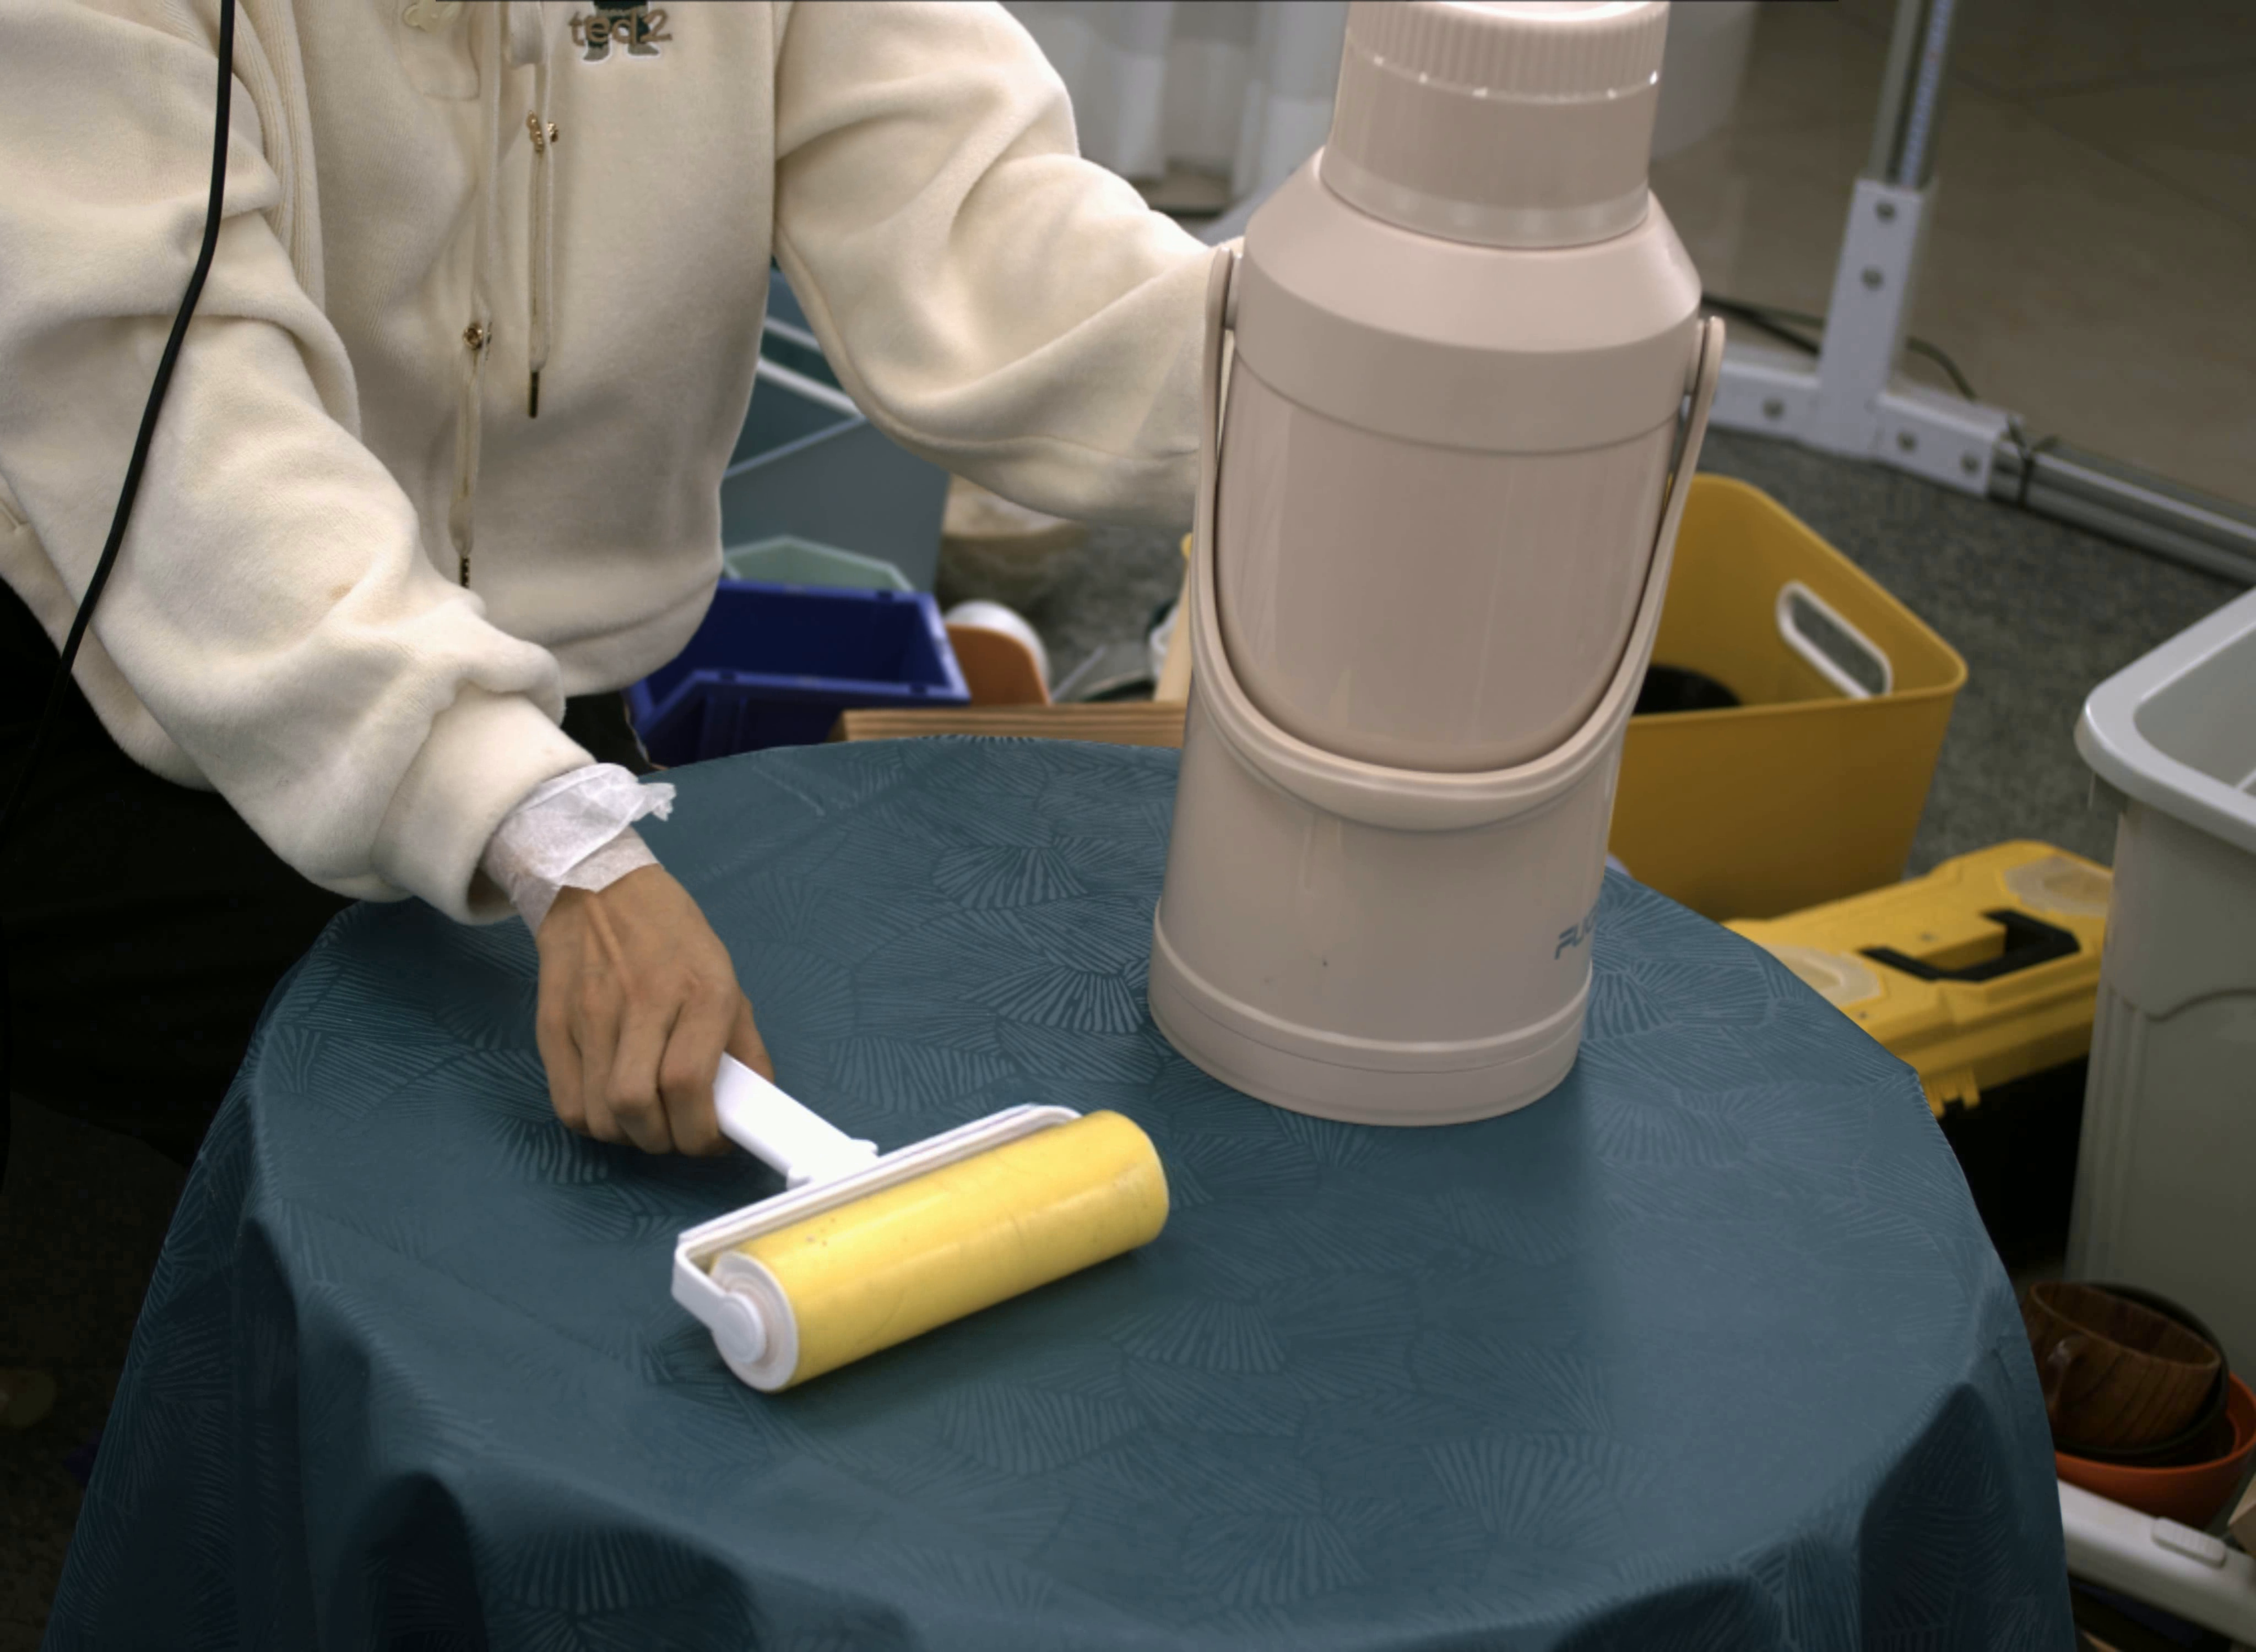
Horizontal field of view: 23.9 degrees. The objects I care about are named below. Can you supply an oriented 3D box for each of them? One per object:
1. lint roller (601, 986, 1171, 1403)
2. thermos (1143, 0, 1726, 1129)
[{"bbox_3d":[-0.106,0.099,1.748,0.173,0.051,0.193,-19,50,-40],"label":"lint roller"},{"bbox_3d":[0.109,-0.111,1.852,0.175,0.405,0.208,8,26,3],"label":"thermos"}]
